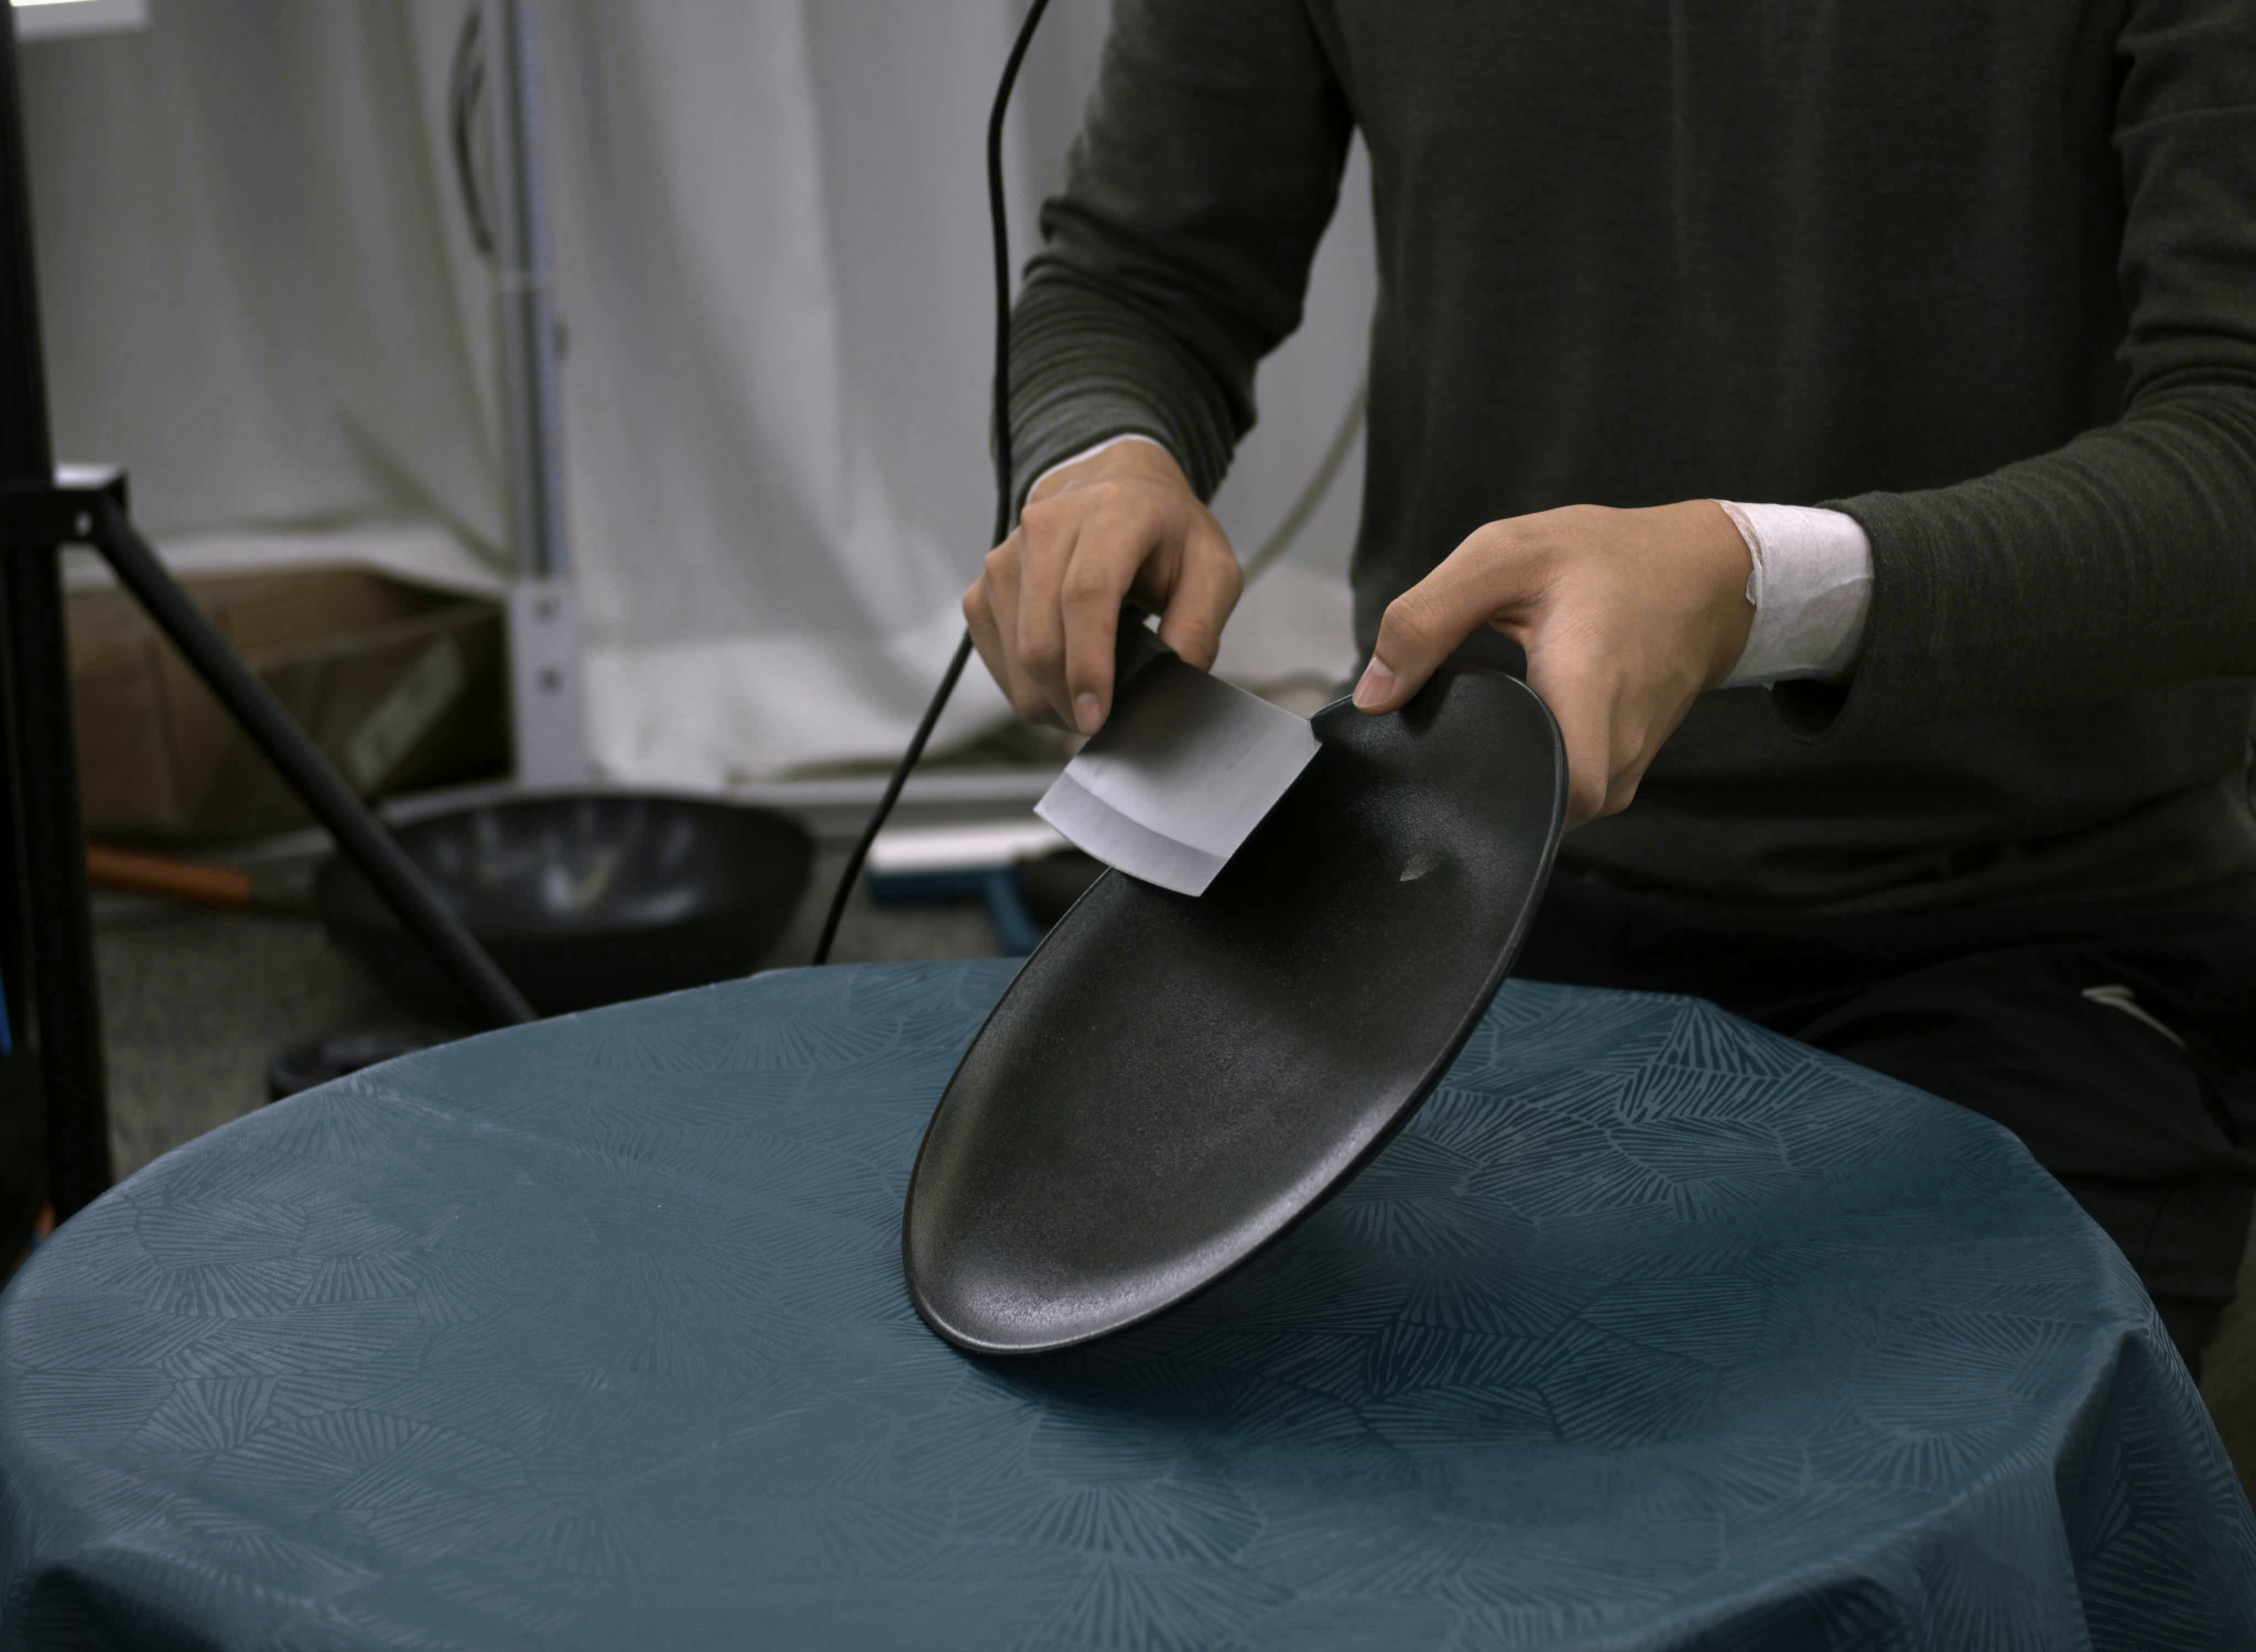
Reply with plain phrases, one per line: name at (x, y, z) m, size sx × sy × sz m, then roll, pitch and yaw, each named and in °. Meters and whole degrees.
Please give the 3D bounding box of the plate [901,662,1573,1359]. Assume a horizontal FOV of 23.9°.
plate at (0.033, 0.055, 1.470) m, size 0.246 × 0.023 × 0.246 m, roll -38°, pitch 25°, yaw 19°

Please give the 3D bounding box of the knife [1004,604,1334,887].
knife at (0.002, -0.029, 1.644) m, size 0.081 × 0.020 × 0.306 m, roll -49°, pitch 17°, yaw 1°
